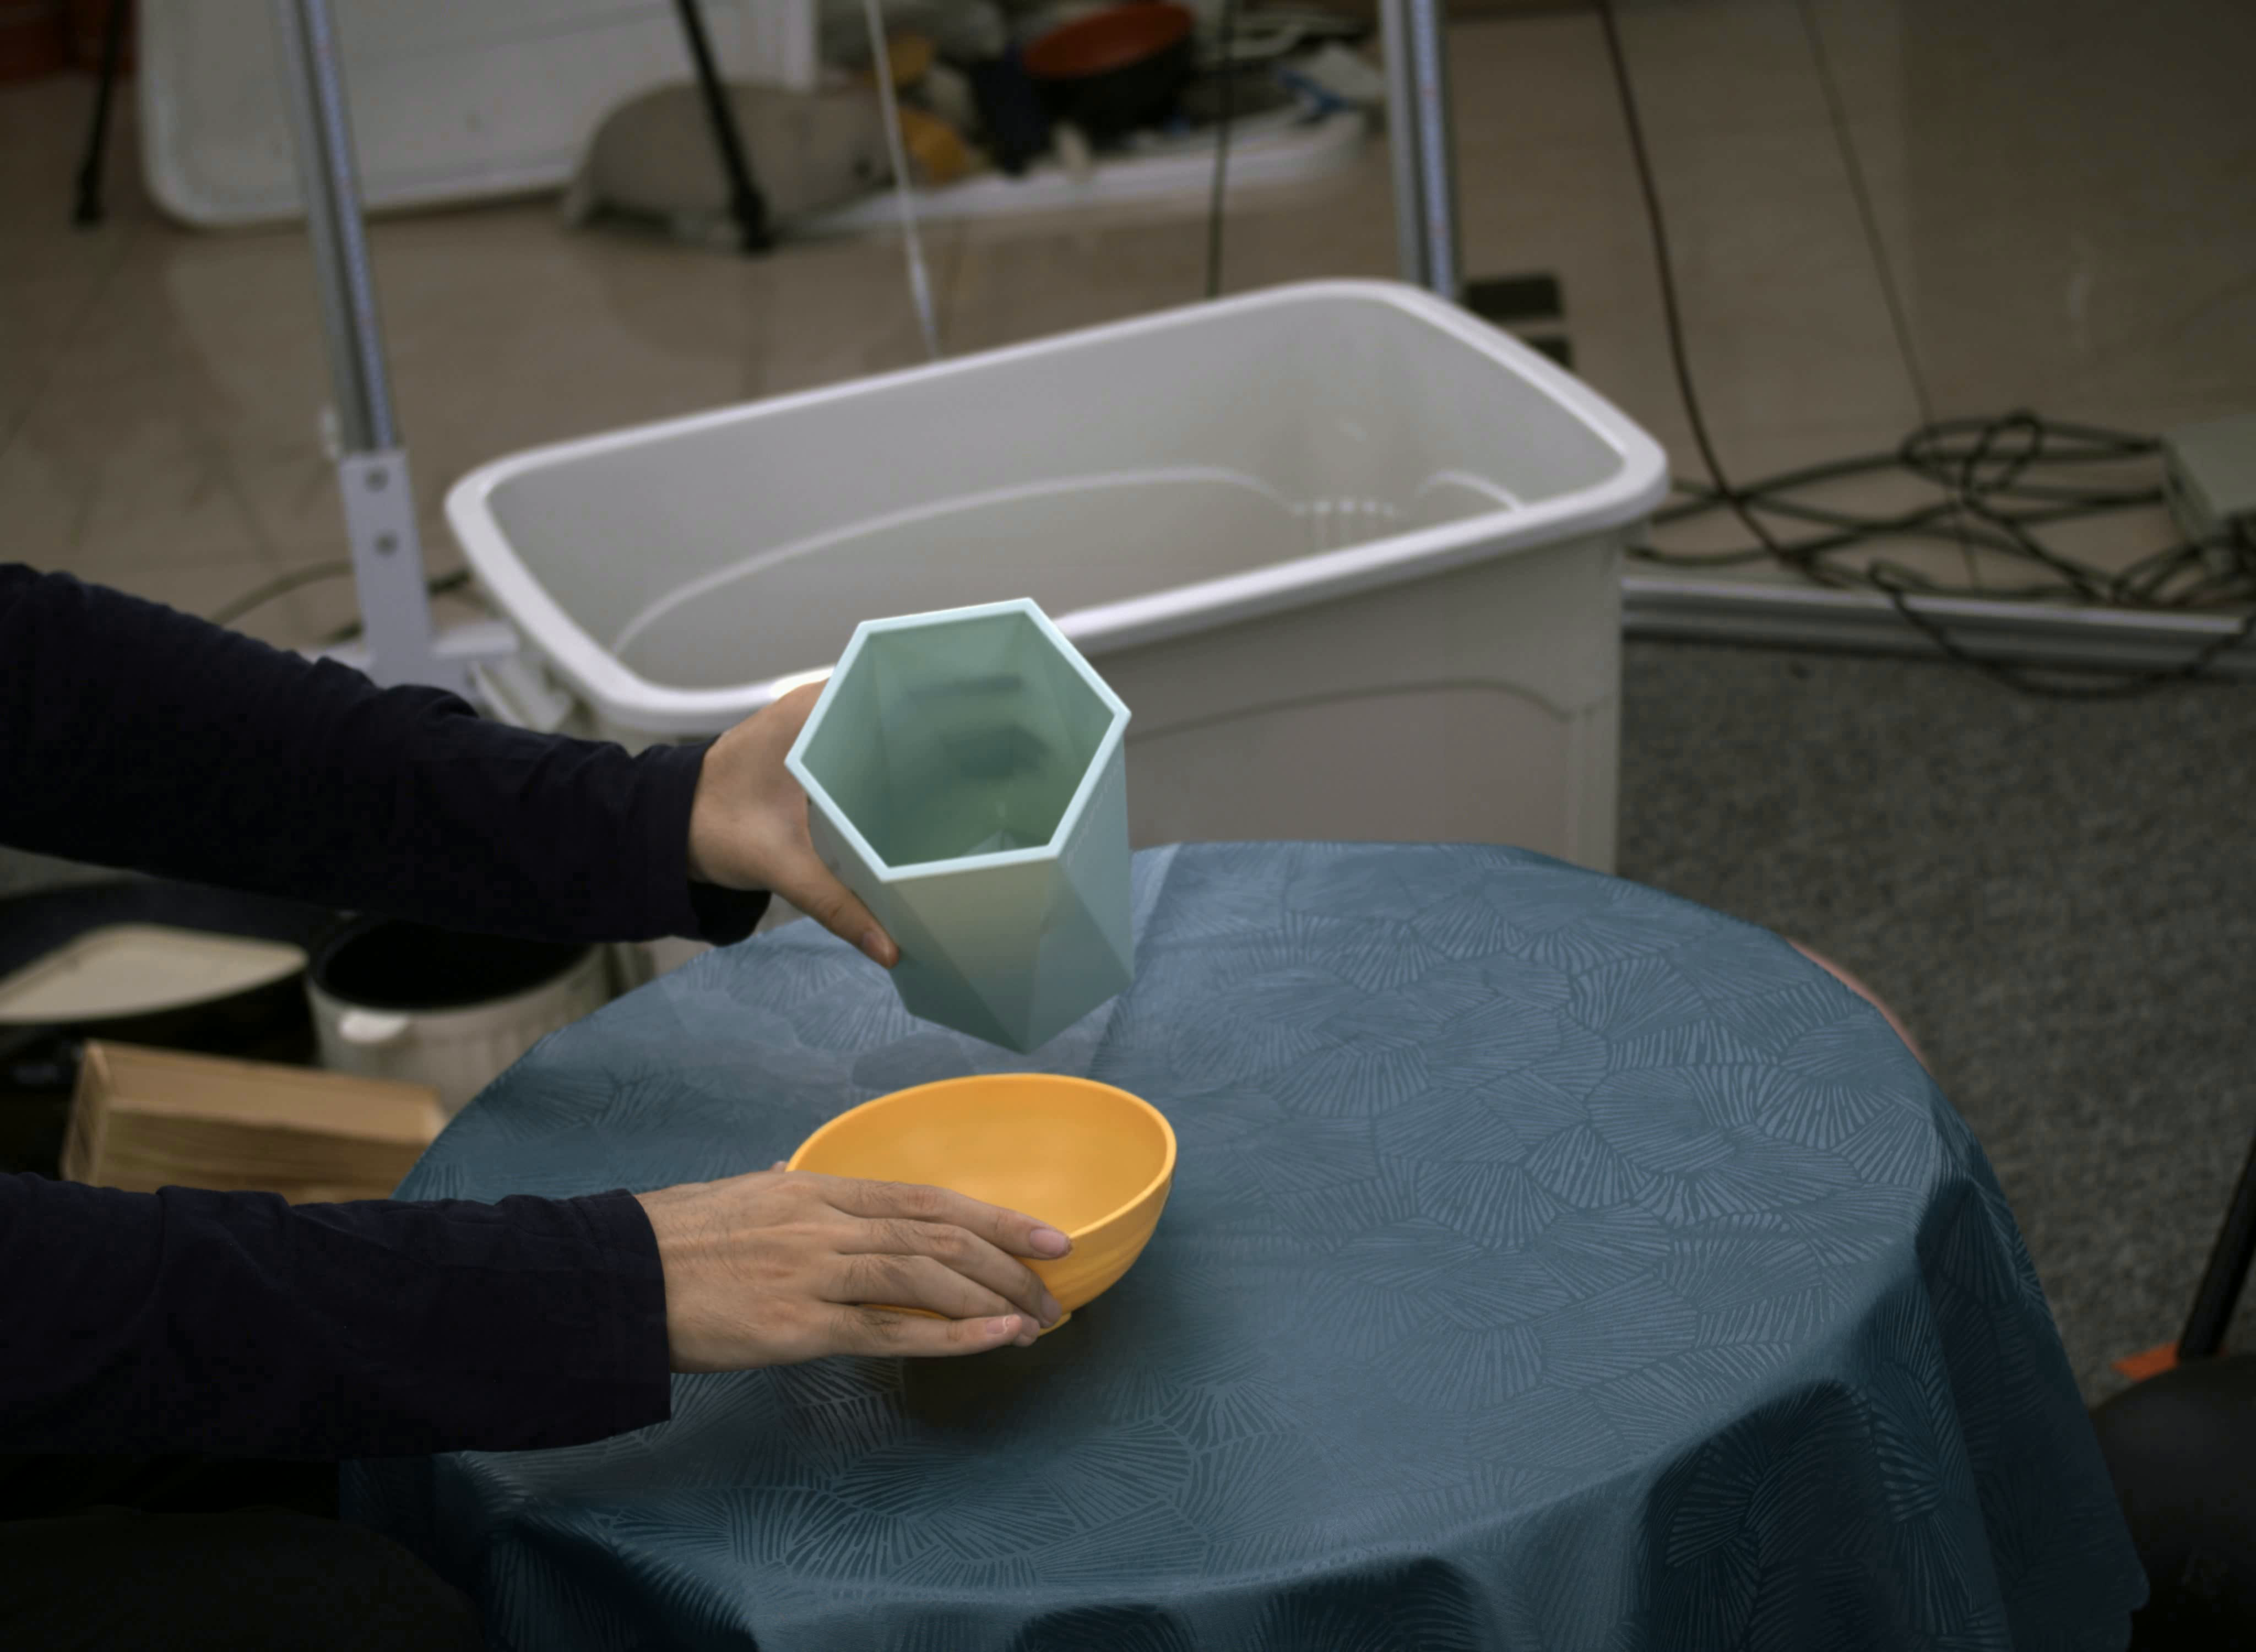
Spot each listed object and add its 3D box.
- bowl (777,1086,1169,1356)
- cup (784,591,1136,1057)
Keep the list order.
[{"bbox_3d":[-0.052,0.152,2.069,0.145,0.061,0.143,-8,24,3],"label":"bowl"},{"bbox_3d":[-0.053,0.005,2.177,0.114,0.165,0.129,17,64,18],"label":"cup"}]
